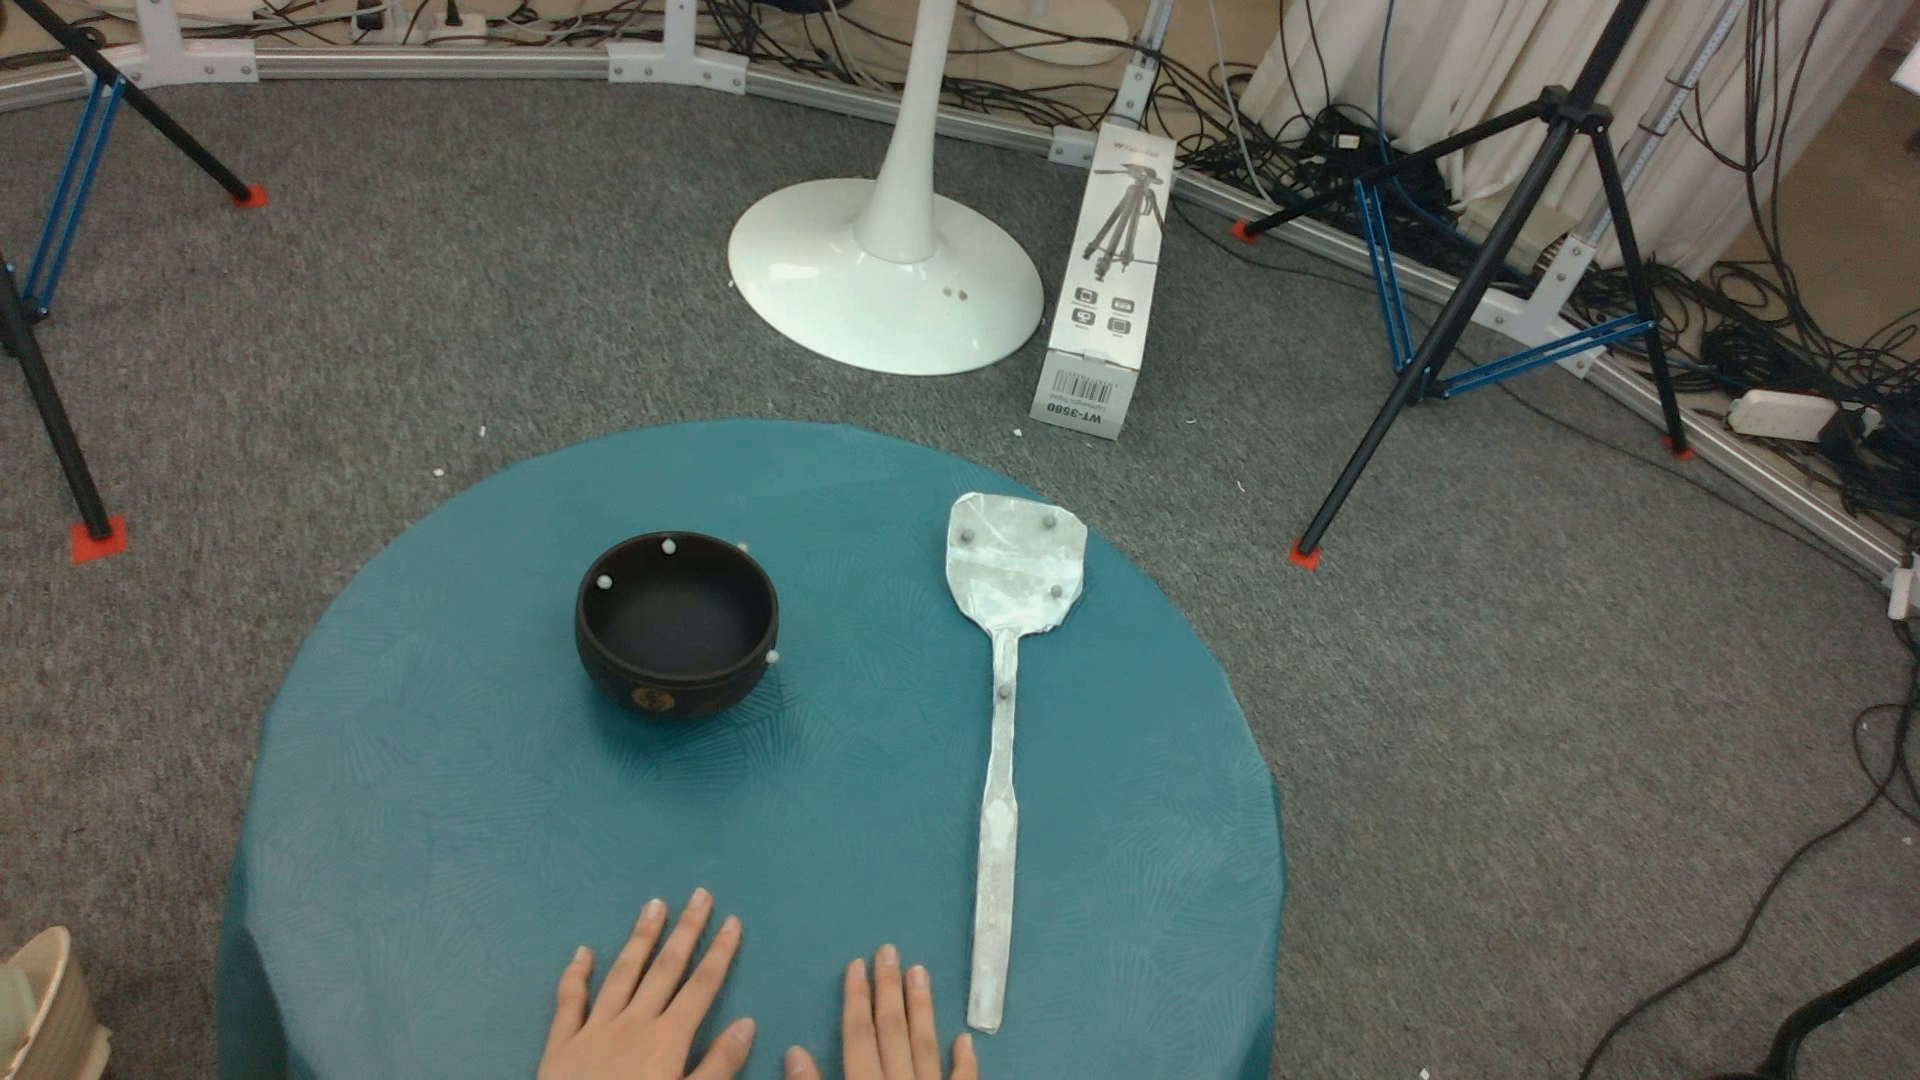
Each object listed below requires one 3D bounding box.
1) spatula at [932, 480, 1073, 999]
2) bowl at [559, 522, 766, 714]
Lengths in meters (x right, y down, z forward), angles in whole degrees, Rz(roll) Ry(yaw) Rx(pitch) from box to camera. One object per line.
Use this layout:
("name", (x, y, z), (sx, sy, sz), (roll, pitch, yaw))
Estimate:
("spatula", (0.016, 0.105, 0.850), (0.099, 0.044, 0.366), (13, 45, -7))
("bowl", (-0.177, 0.054, 0.818), (0.118, 0.069, 0.118), (7, 46, -8))
